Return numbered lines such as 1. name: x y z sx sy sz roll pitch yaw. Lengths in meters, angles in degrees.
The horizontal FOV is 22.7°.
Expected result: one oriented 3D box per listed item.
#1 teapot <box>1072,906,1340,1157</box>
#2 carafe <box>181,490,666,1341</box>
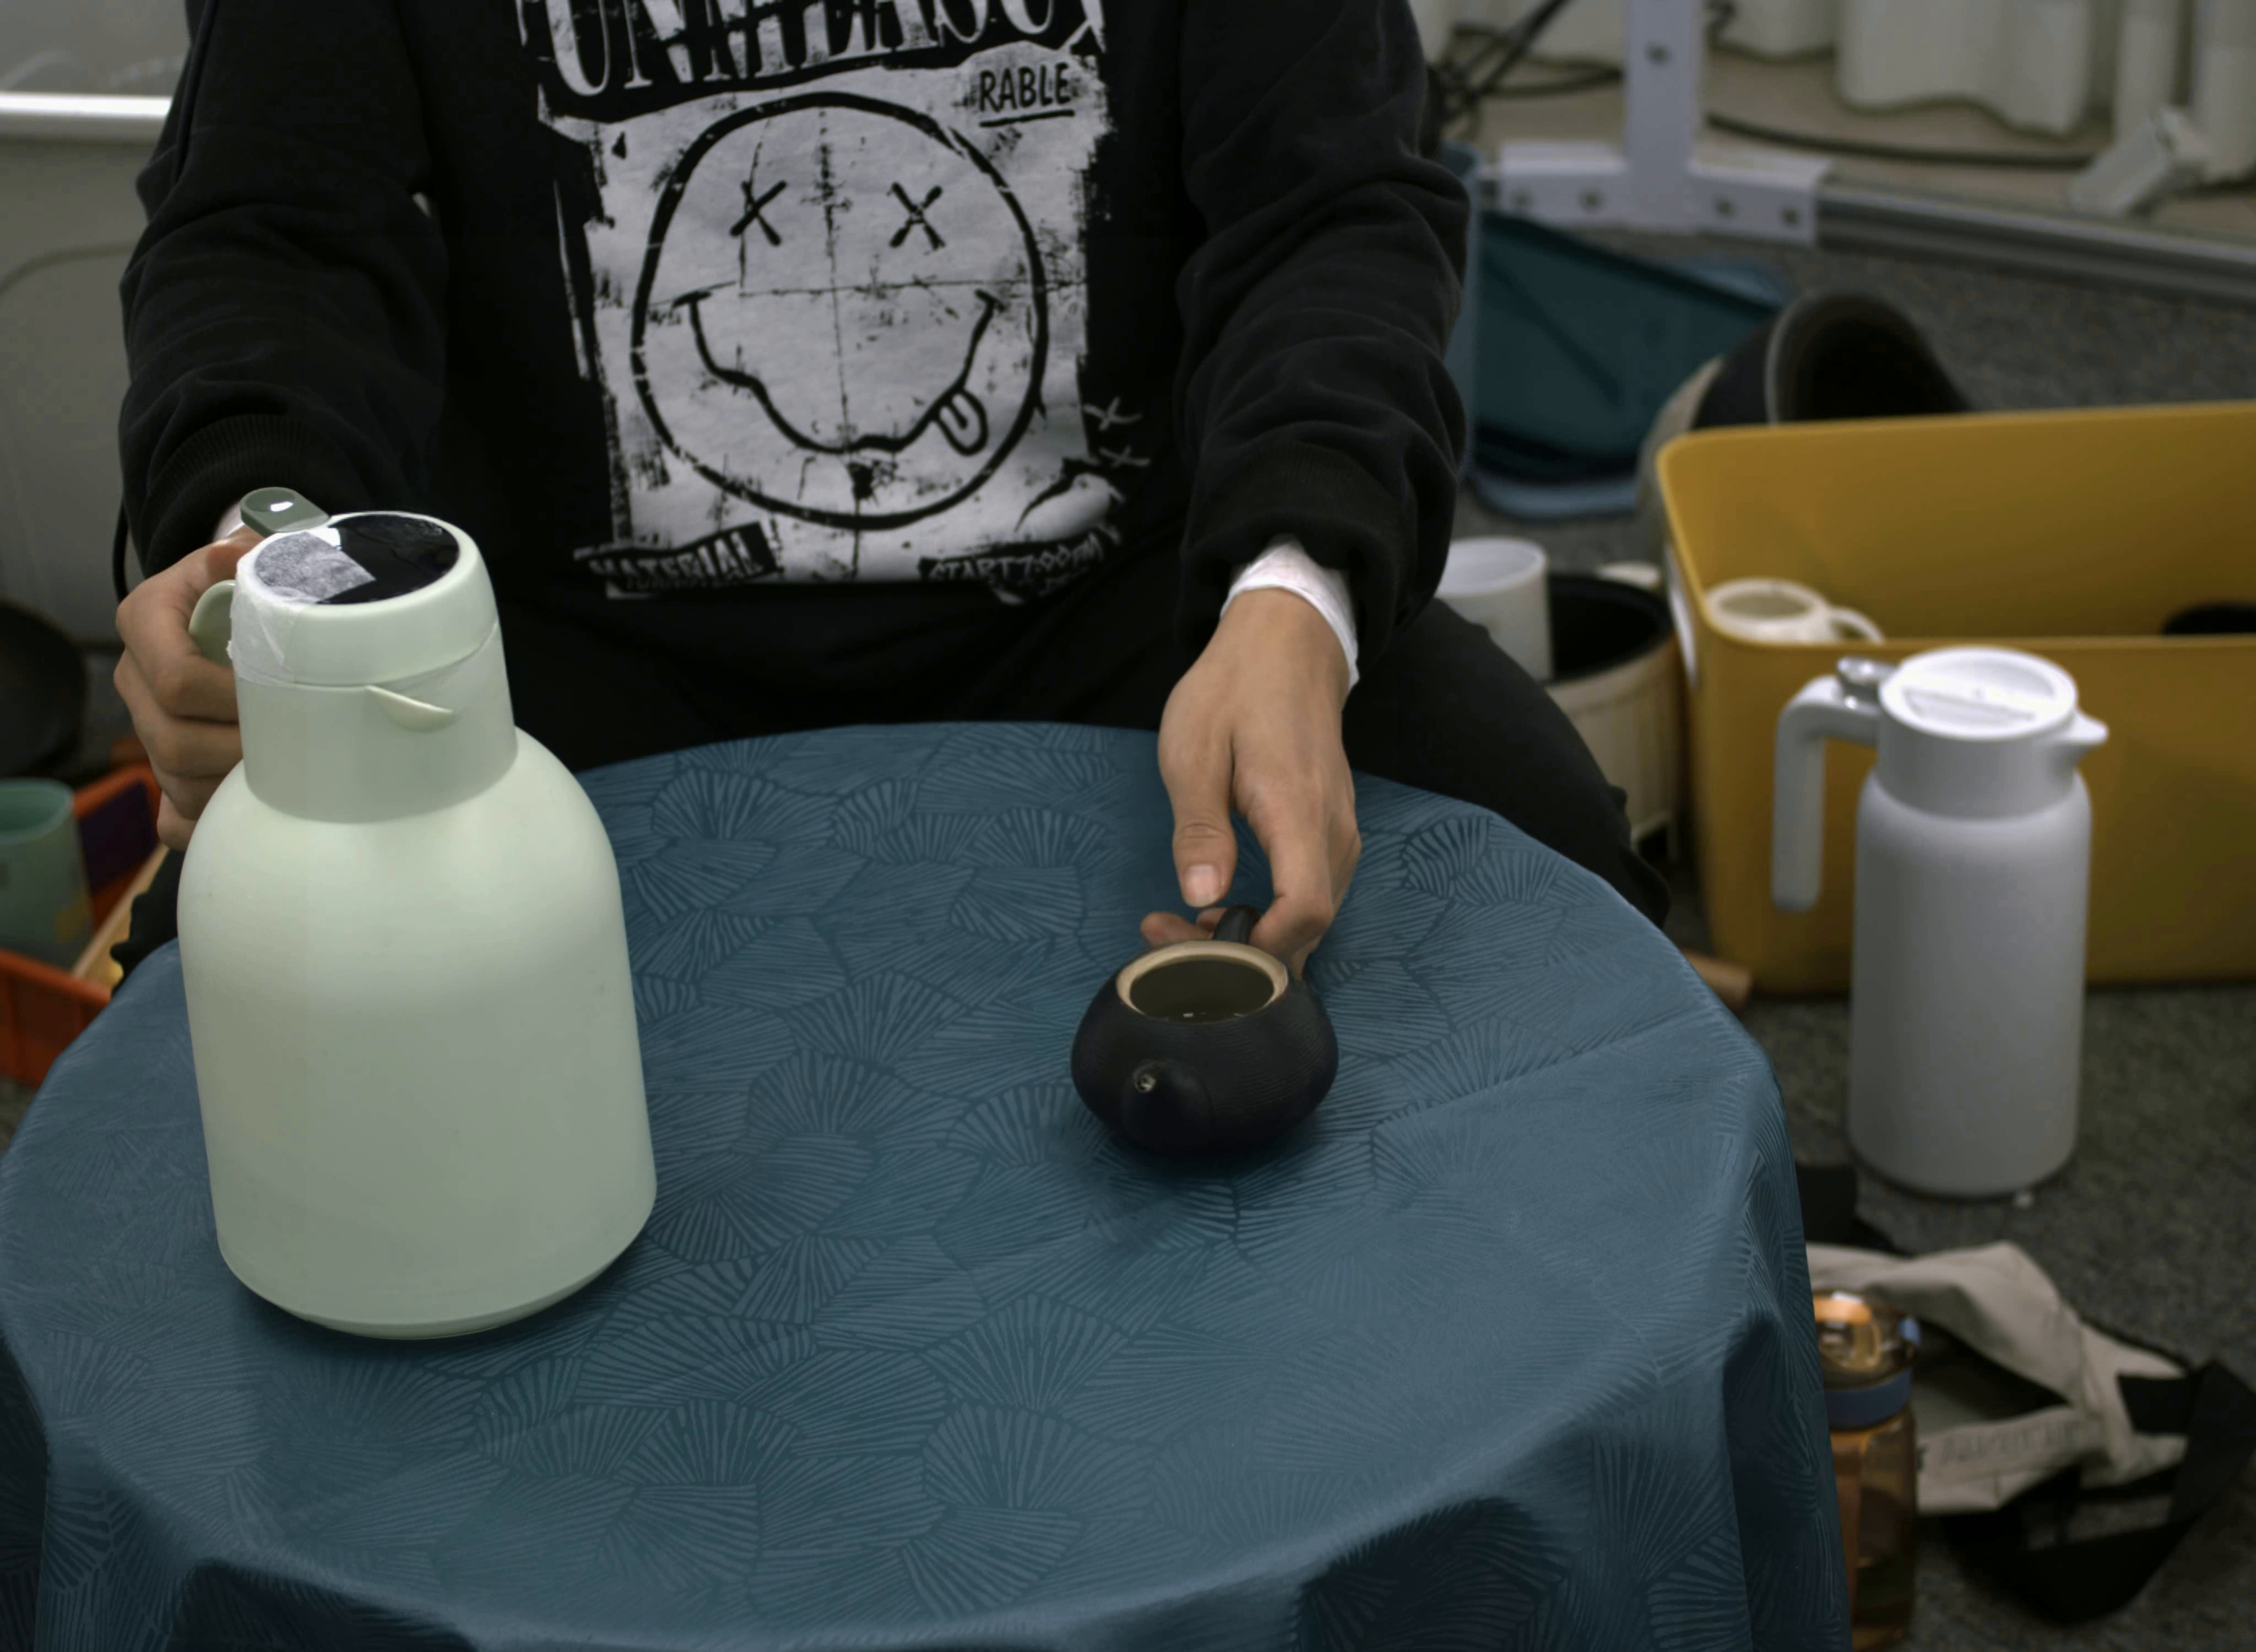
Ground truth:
1. teapot: 0.026 0.075 1.889 0.090 0.052 0.135 6 29 15
2. carafe: -0.240 0.022 1.806 0.145 0.254 0.187 -22 29 -31
